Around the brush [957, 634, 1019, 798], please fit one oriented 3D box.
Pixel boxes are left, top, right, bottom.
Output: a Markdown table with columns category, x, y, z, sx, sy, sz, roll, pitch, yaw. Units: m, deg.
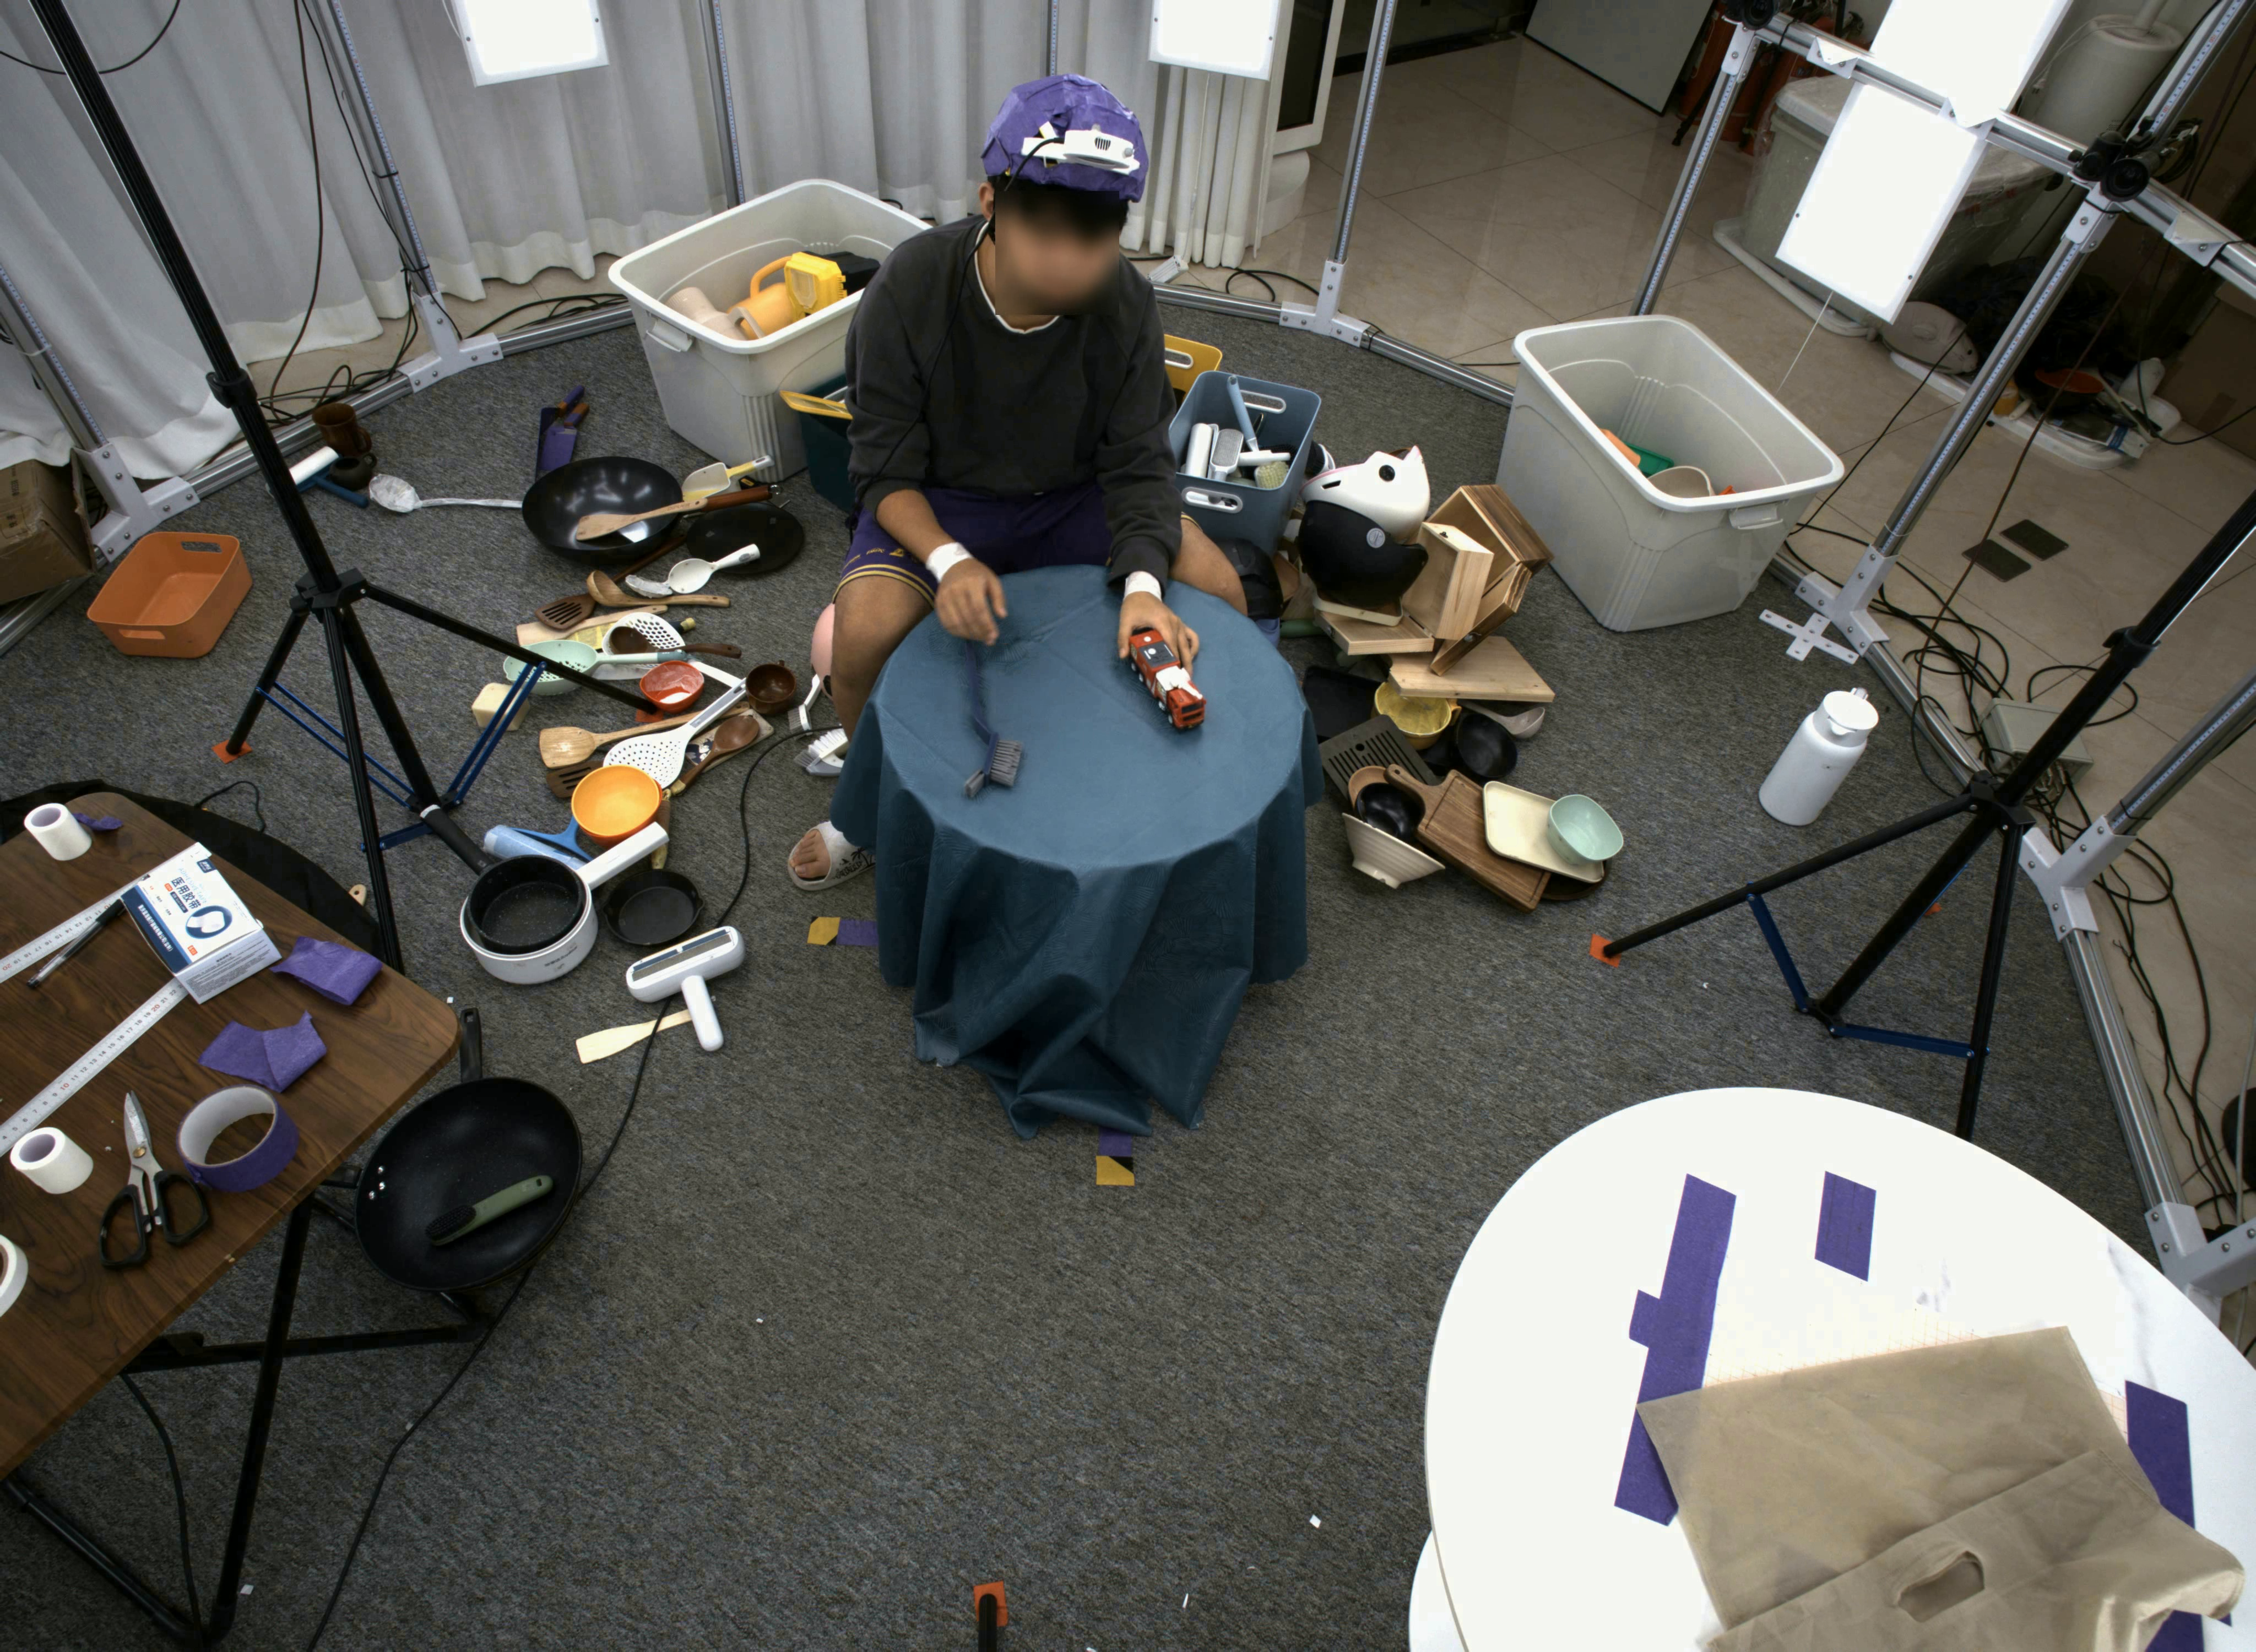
| category | x | y | z | sx | sy | sz | roll | pitch | yaw |
| --- | --- | --- | --- | --- | --- | --- | --- | --- | --- |
| brush | -0.213 | -0.157 | 1.767 | 0.095 | 0.033 | 0.280 | -11 | 51 | -12 |

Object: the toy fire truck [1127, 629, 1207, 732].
| category | x | y | z | sx | sy | sz | roll | pitch | yaw |
| --- | --- | --- | --- | --- | --- | --- | --- | --- | --- |
| toy fire truck | 0.055 | -0.207 | 1.812 | 0.054 | 0.068 | 0.172 | -19 | 52 | -19 |
